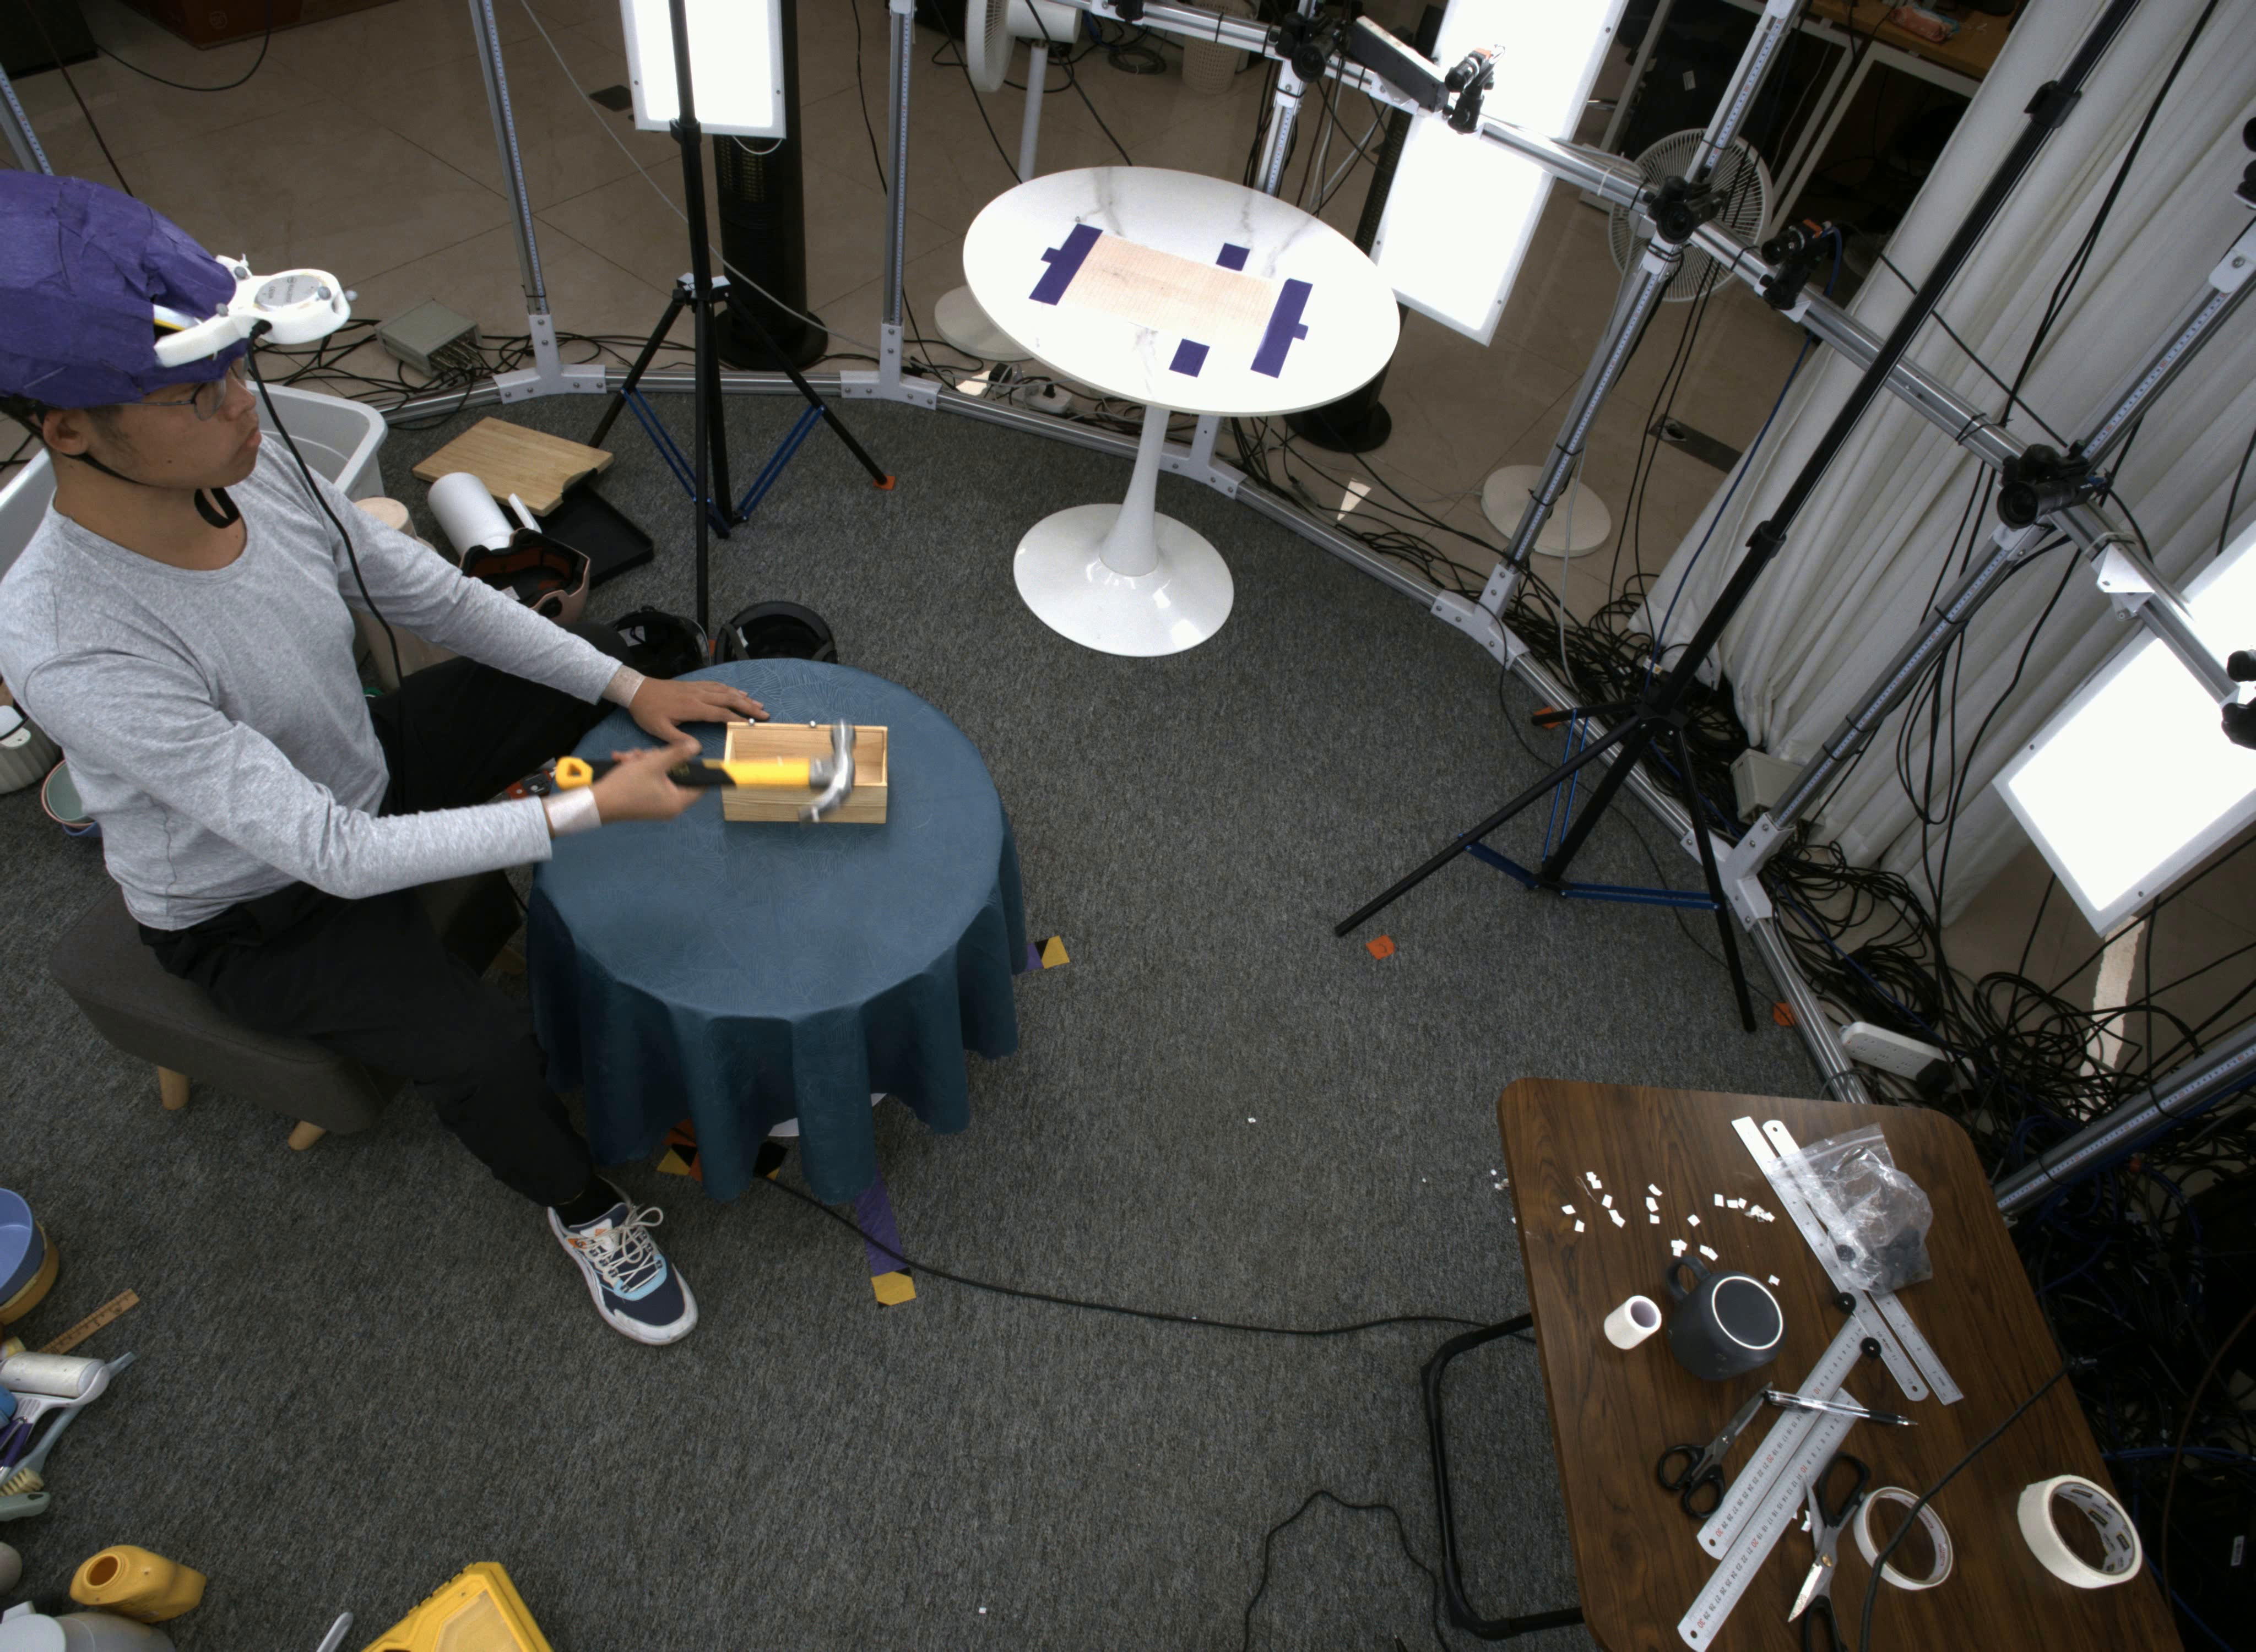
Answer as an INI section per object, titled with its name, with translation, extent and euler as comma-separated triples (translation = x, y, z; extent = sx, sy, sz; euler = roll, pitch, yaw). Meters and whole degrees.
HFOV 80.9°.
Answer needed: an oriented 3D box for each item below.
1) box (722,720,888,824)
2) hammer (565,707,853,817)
[box]
translation = -0.427, -0.071, 1.727
extent = 0.211, 0.082, 0.105
euler = 1, 54, -13
[hammer]
translation = -0.484, -0.071, 1.468
extent = 0.336, 0.033, 0.129
euler = -2, 61, -7
